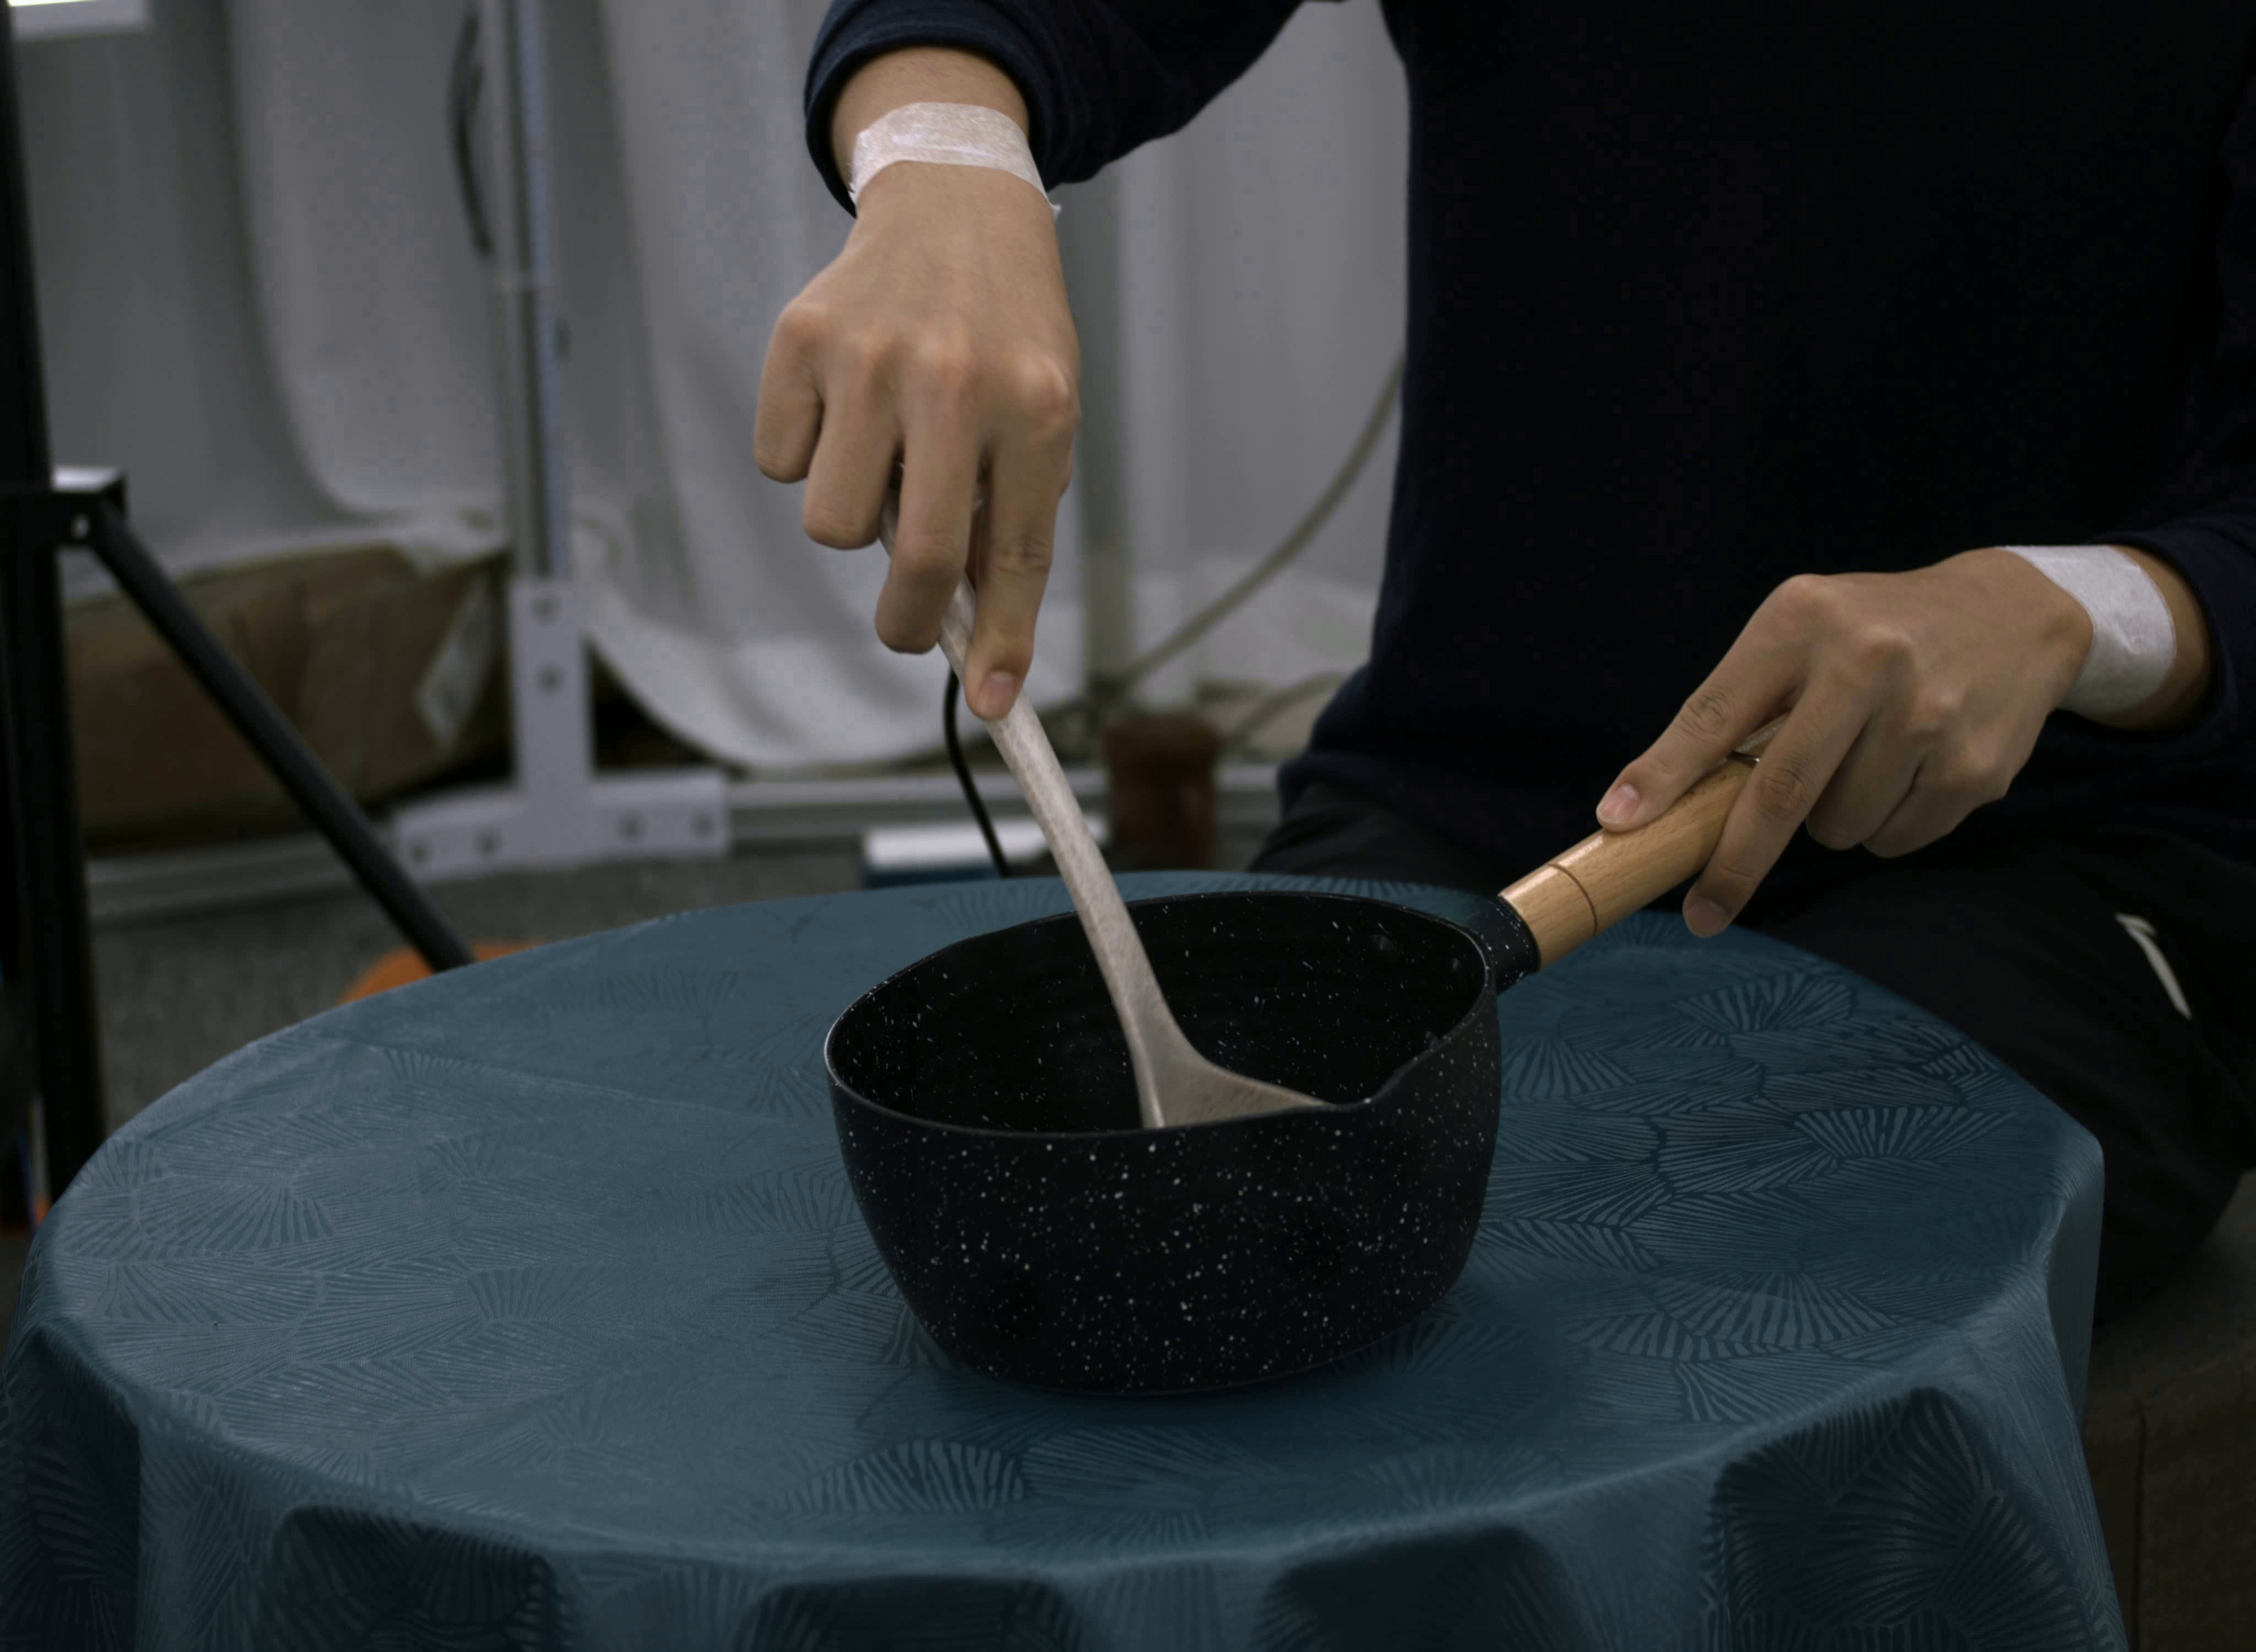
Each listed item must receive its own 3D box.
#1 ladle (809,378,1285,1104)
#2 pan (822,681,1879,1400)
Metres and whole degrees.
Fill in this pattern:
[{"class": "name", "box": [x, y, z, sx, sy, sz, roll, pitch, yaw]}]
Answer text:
[{"class": "ladle", "box": [0.000, -0.005, 1.428, 0.070, 0.275, 0.088, -21, 7, 34]}, {"class": "pan", "box": [0.077, 0.056, 1.484, 0.336, 0.108, 0.212, -19, 20, -28]}]
